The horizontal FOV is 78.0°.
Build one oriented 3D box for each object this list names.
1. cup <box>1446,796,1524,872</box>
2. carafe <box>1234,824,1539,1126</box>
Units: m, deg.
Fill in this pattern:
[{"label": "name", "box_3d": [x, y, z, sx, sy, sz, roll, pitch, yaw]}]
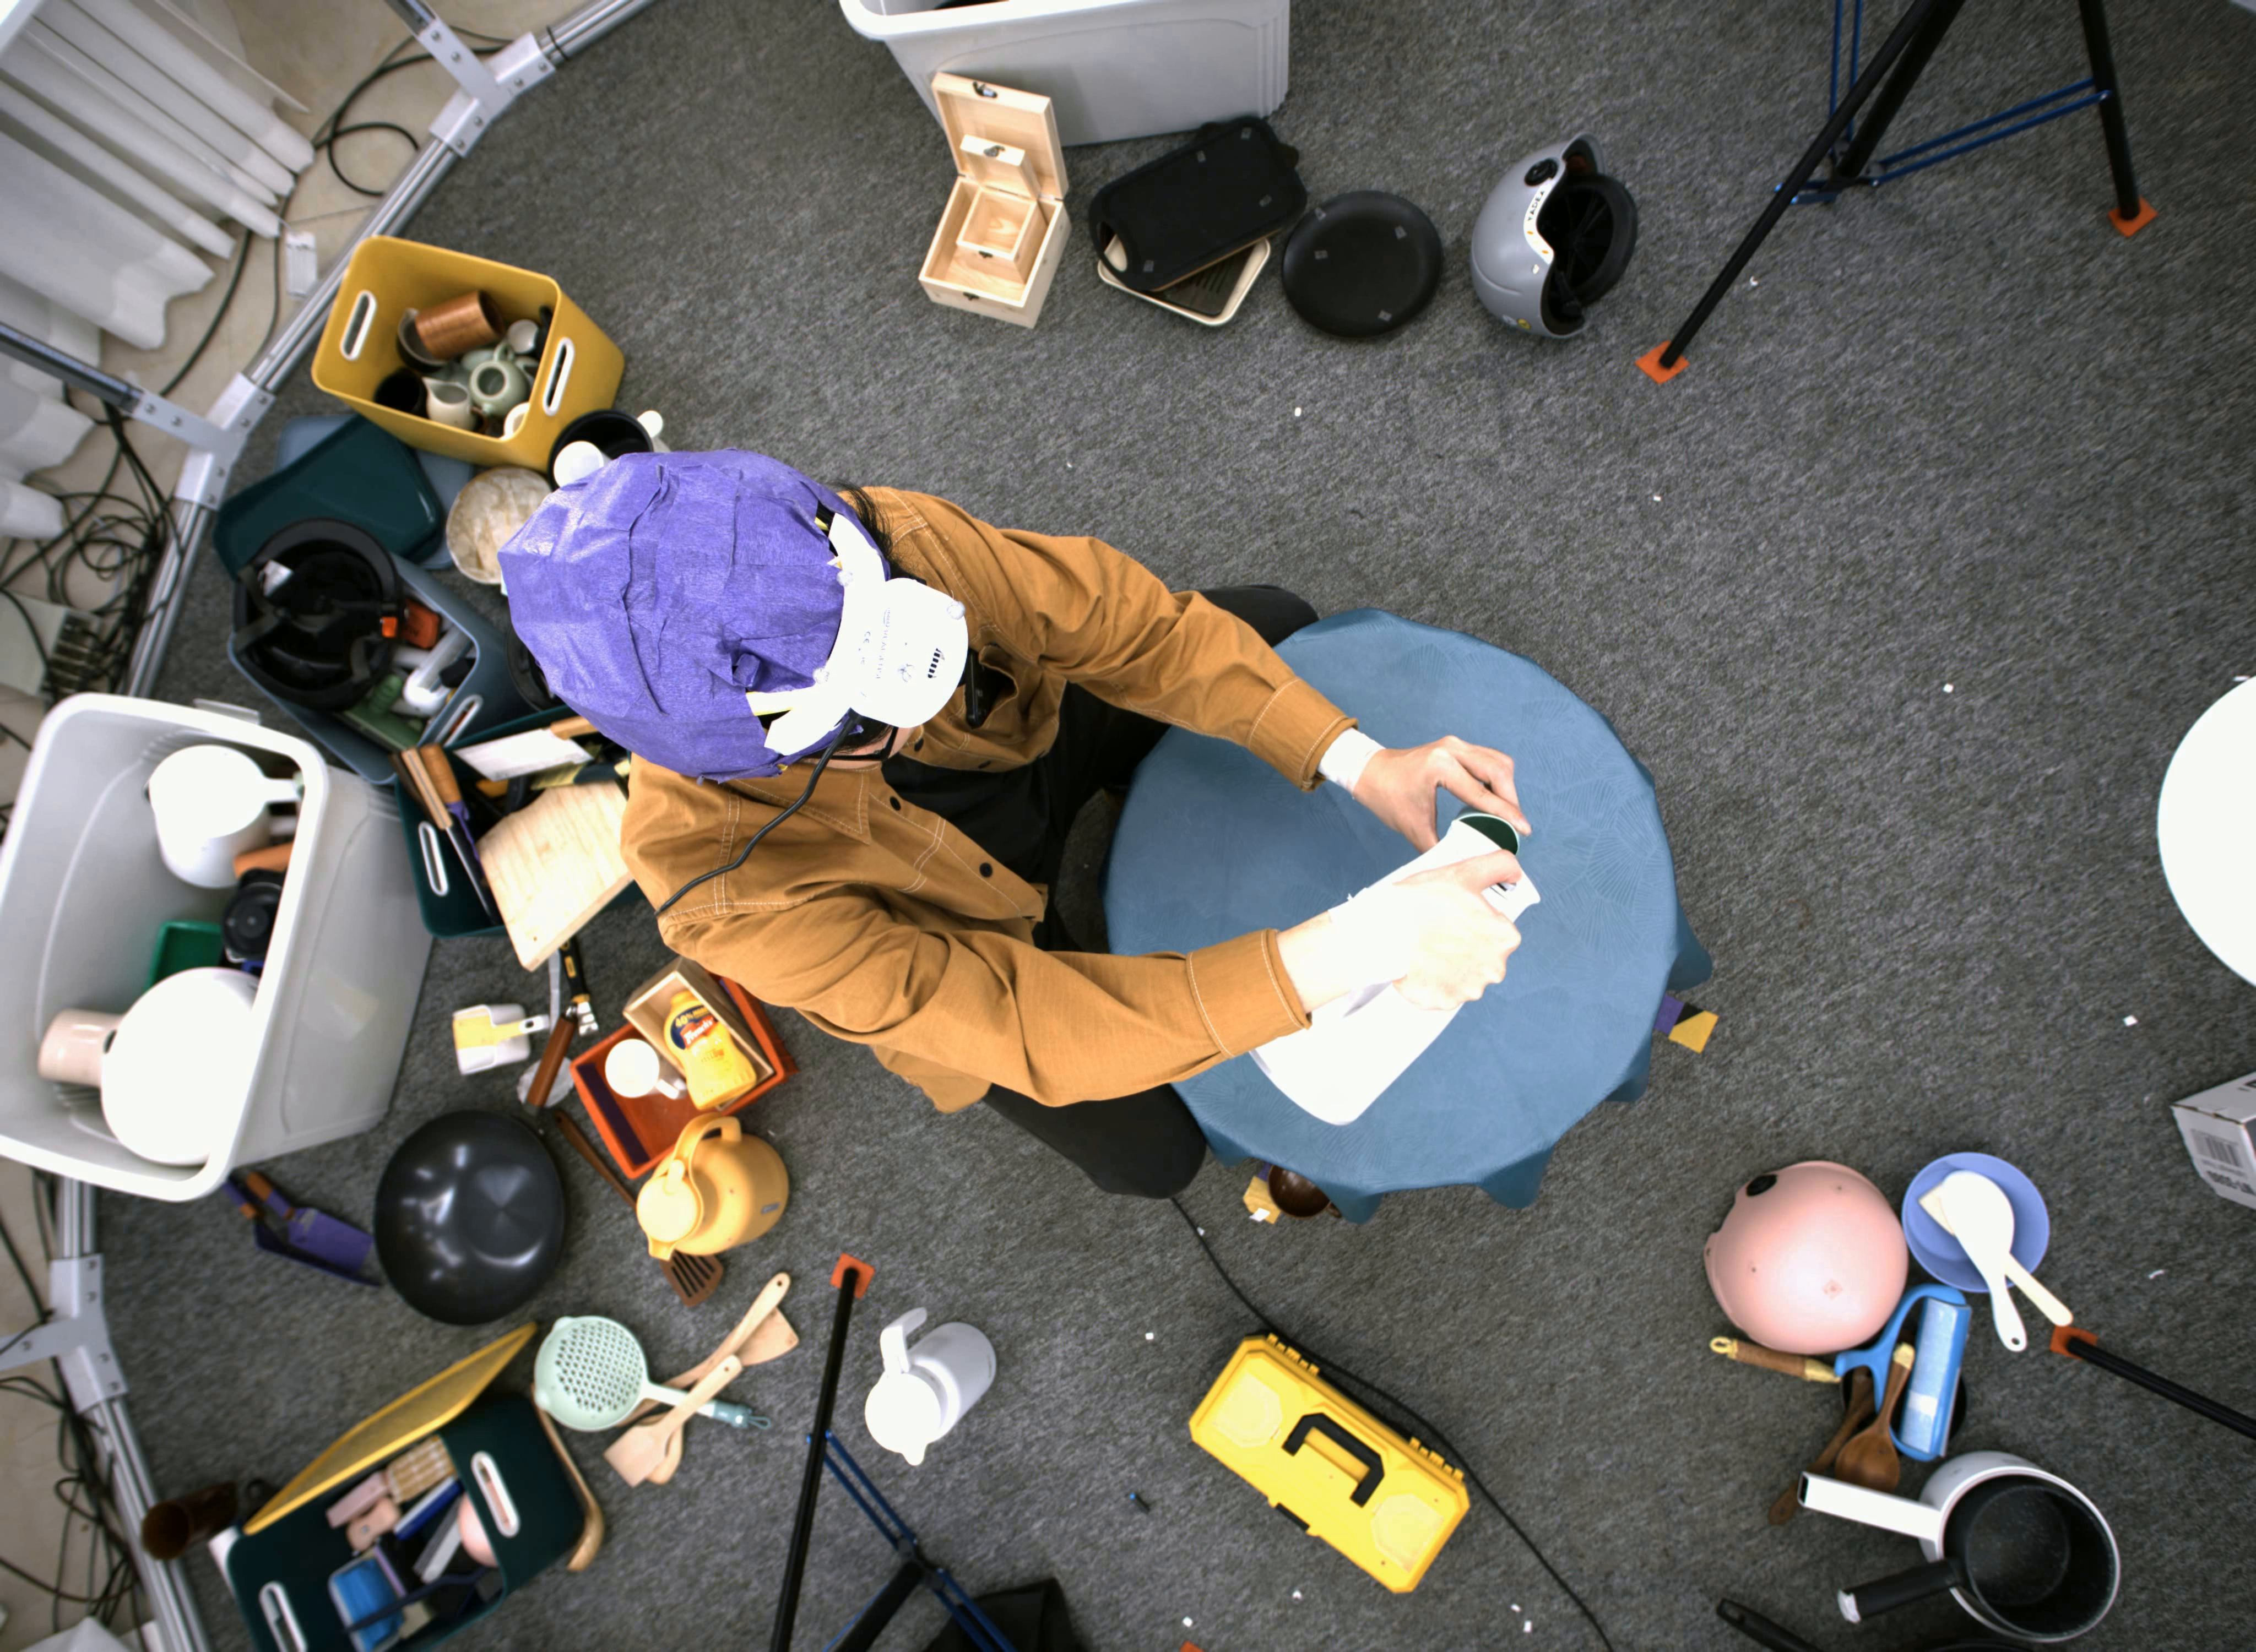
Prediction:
[{"label": "cup", "box_3d": [0.317, 0.010, 1.220, 0.067, 0.130, 0.067, 4, 101, 17]}, {"label": "carafe", "box_3d": [0.213, 0.117, 1.101, 0.132, 0.165, 0.252, 41, 110, -1]}]
